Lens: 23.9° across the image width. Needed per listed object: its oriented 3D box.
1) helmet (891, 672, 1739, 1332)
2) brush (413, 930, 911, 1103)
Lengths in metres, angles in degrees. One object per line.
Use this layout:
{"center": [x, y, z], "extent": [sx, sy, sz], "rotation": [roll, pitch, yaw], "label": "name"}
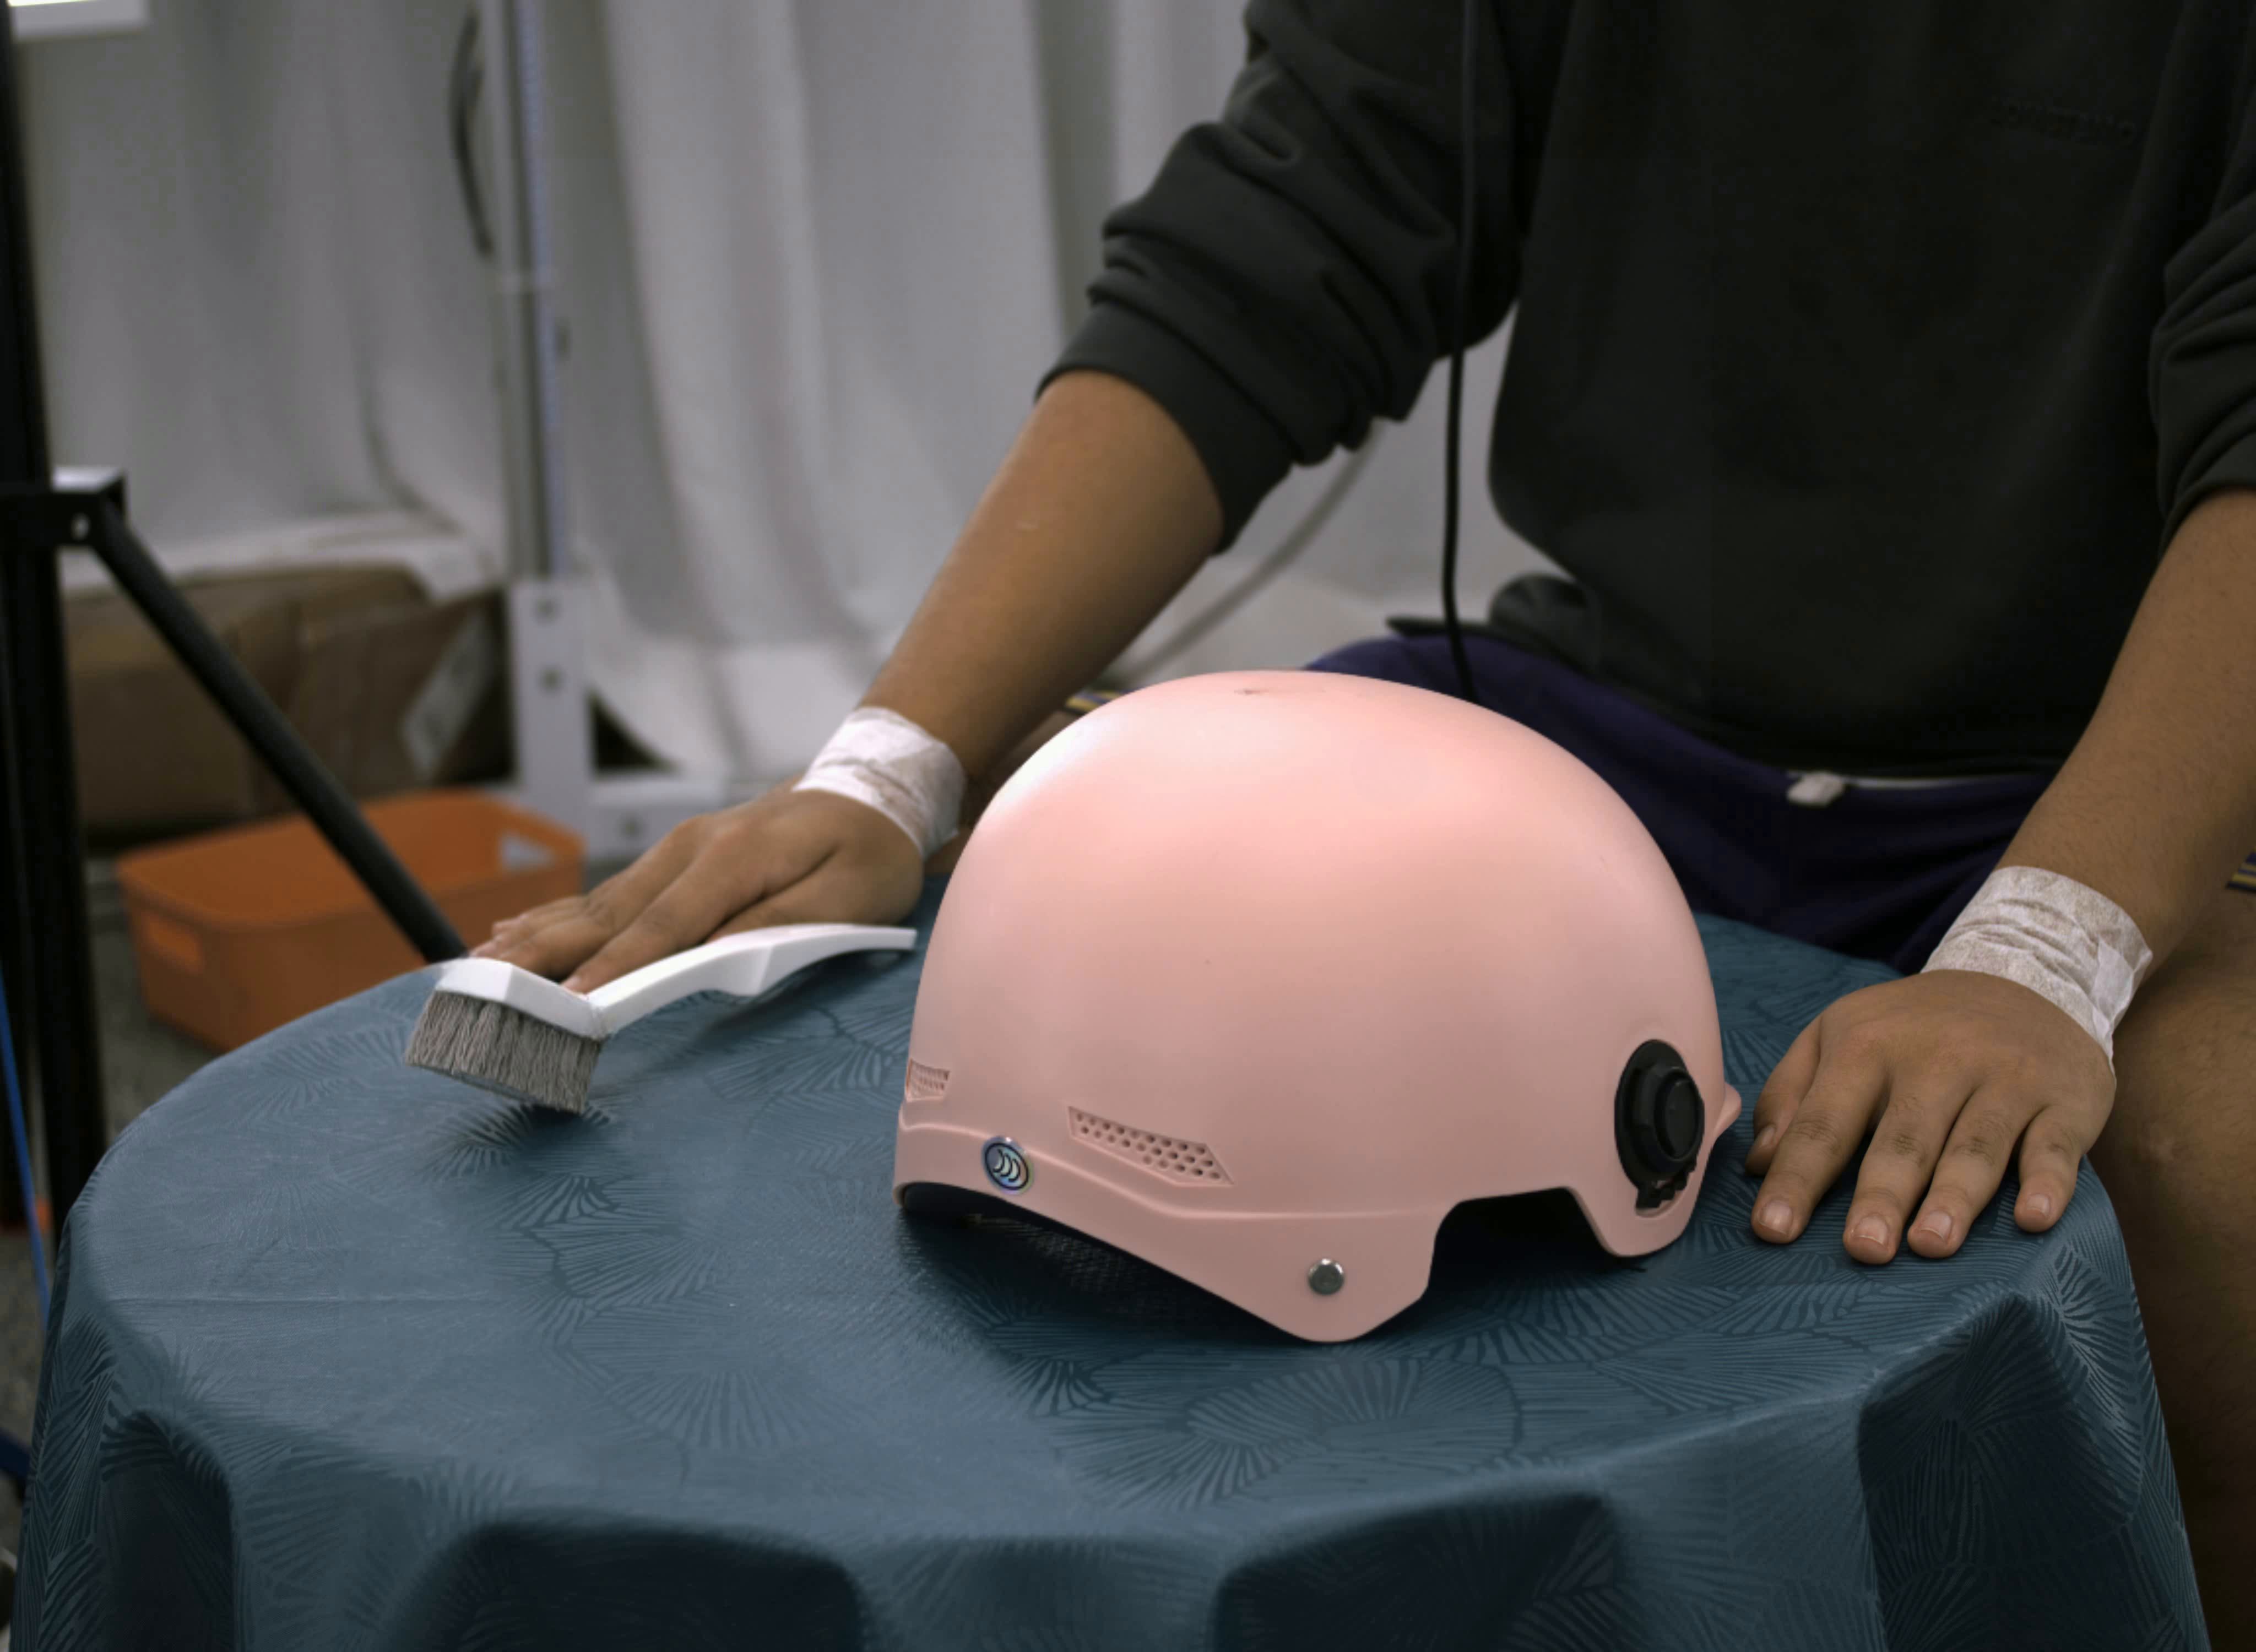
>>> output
{"center": [0.058, 0.034, 1.537], "extent": [0.259, 0.159, 0.239], "rotation": [-11, 16, -42], "label": "helmet"}
{"center": [-0.143, 0.060, 1.712], "extent": [0.035, 0.050, 0.238], "rotation": [3, 2, 32], "label": "brush"}
